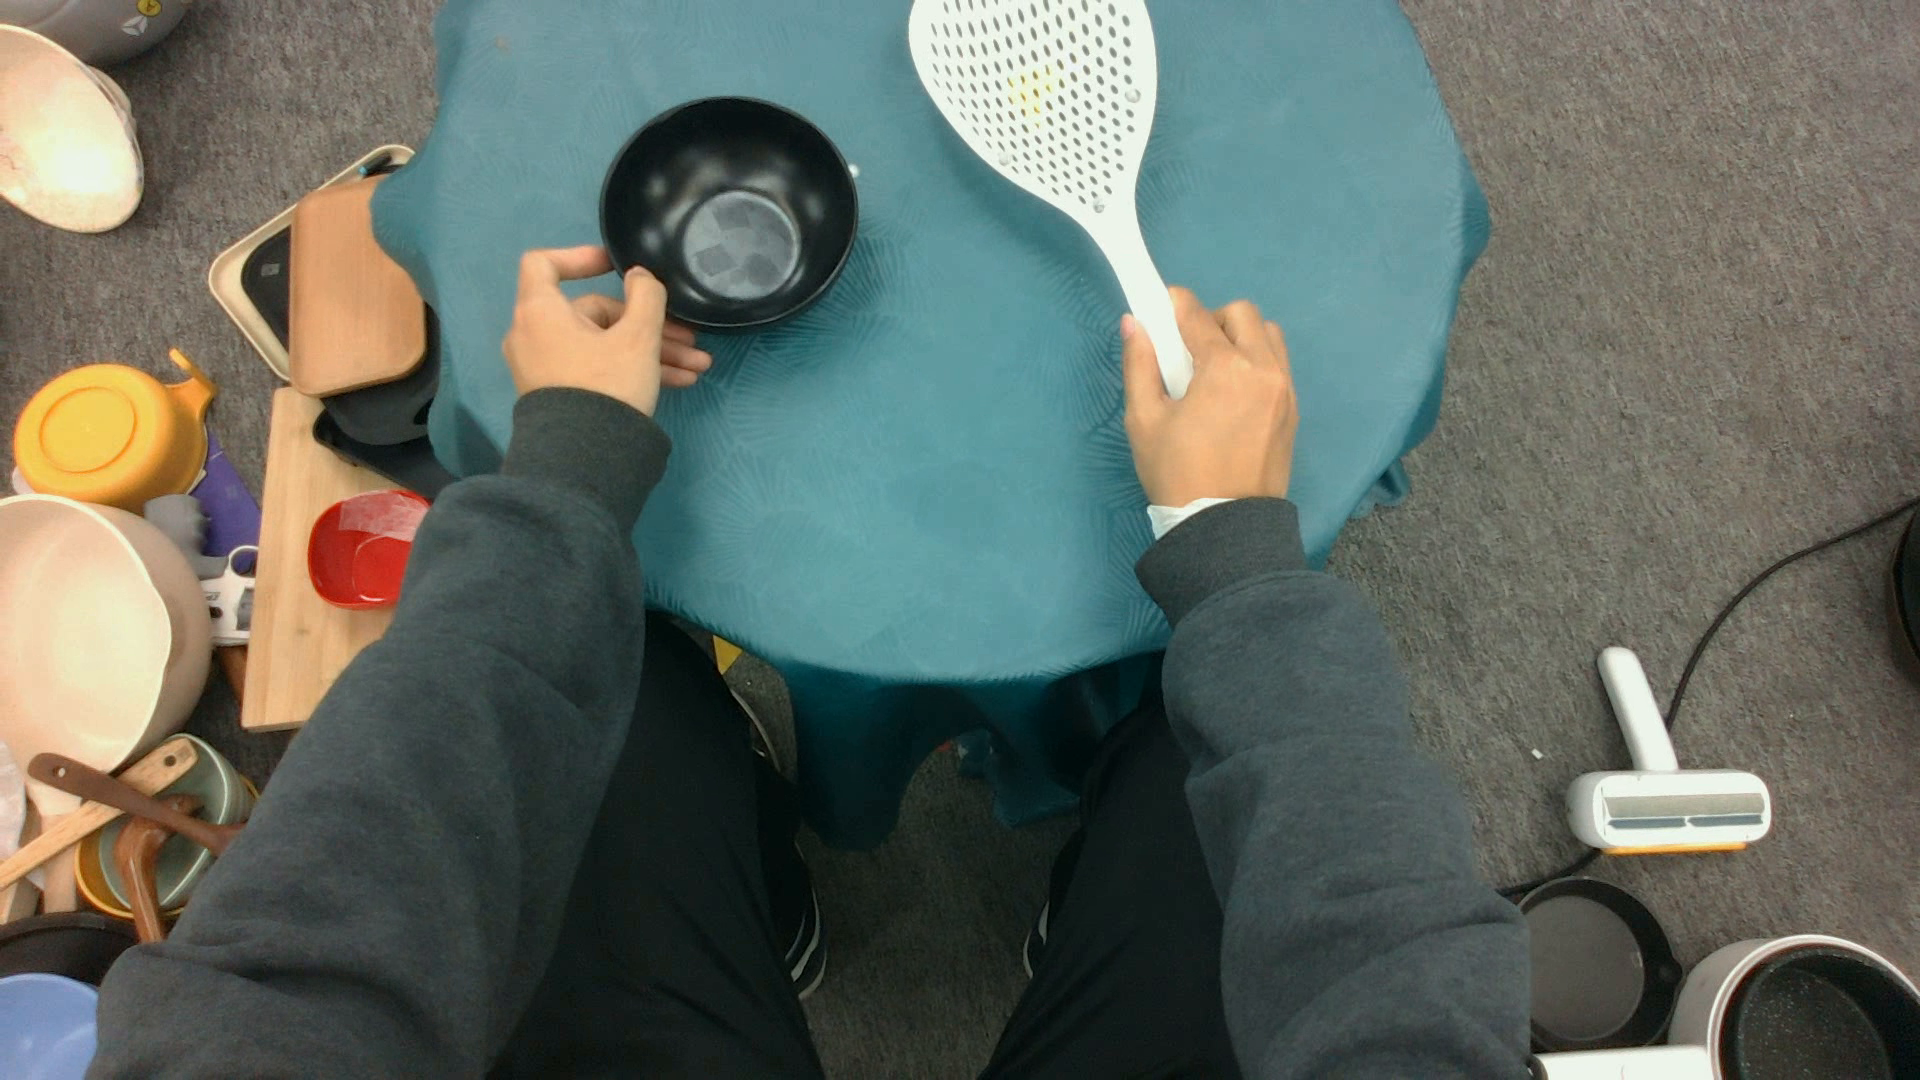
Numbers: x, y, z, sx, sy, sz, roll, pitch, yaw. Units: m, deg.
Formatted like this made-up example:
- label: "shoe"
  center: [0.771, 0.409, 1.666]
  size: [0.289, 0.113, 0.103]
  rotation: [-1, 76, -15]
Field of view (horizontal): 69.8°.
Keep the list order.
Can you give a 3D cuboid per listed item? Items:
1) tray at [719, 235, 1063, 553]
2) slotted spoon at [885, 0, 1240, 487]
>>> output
- label: "tray"
  center: [-0.067, -0.145, 1.344]
  size: [0.300, 0.027, 0.192]
  rotation: [41, 77, 9]
- label: "slotted spoon"
  center: [0.070, -0.186, 0.762]
  size: [0.137, 0.050, 0.348]
  rotation: [-21, 74, -11]
